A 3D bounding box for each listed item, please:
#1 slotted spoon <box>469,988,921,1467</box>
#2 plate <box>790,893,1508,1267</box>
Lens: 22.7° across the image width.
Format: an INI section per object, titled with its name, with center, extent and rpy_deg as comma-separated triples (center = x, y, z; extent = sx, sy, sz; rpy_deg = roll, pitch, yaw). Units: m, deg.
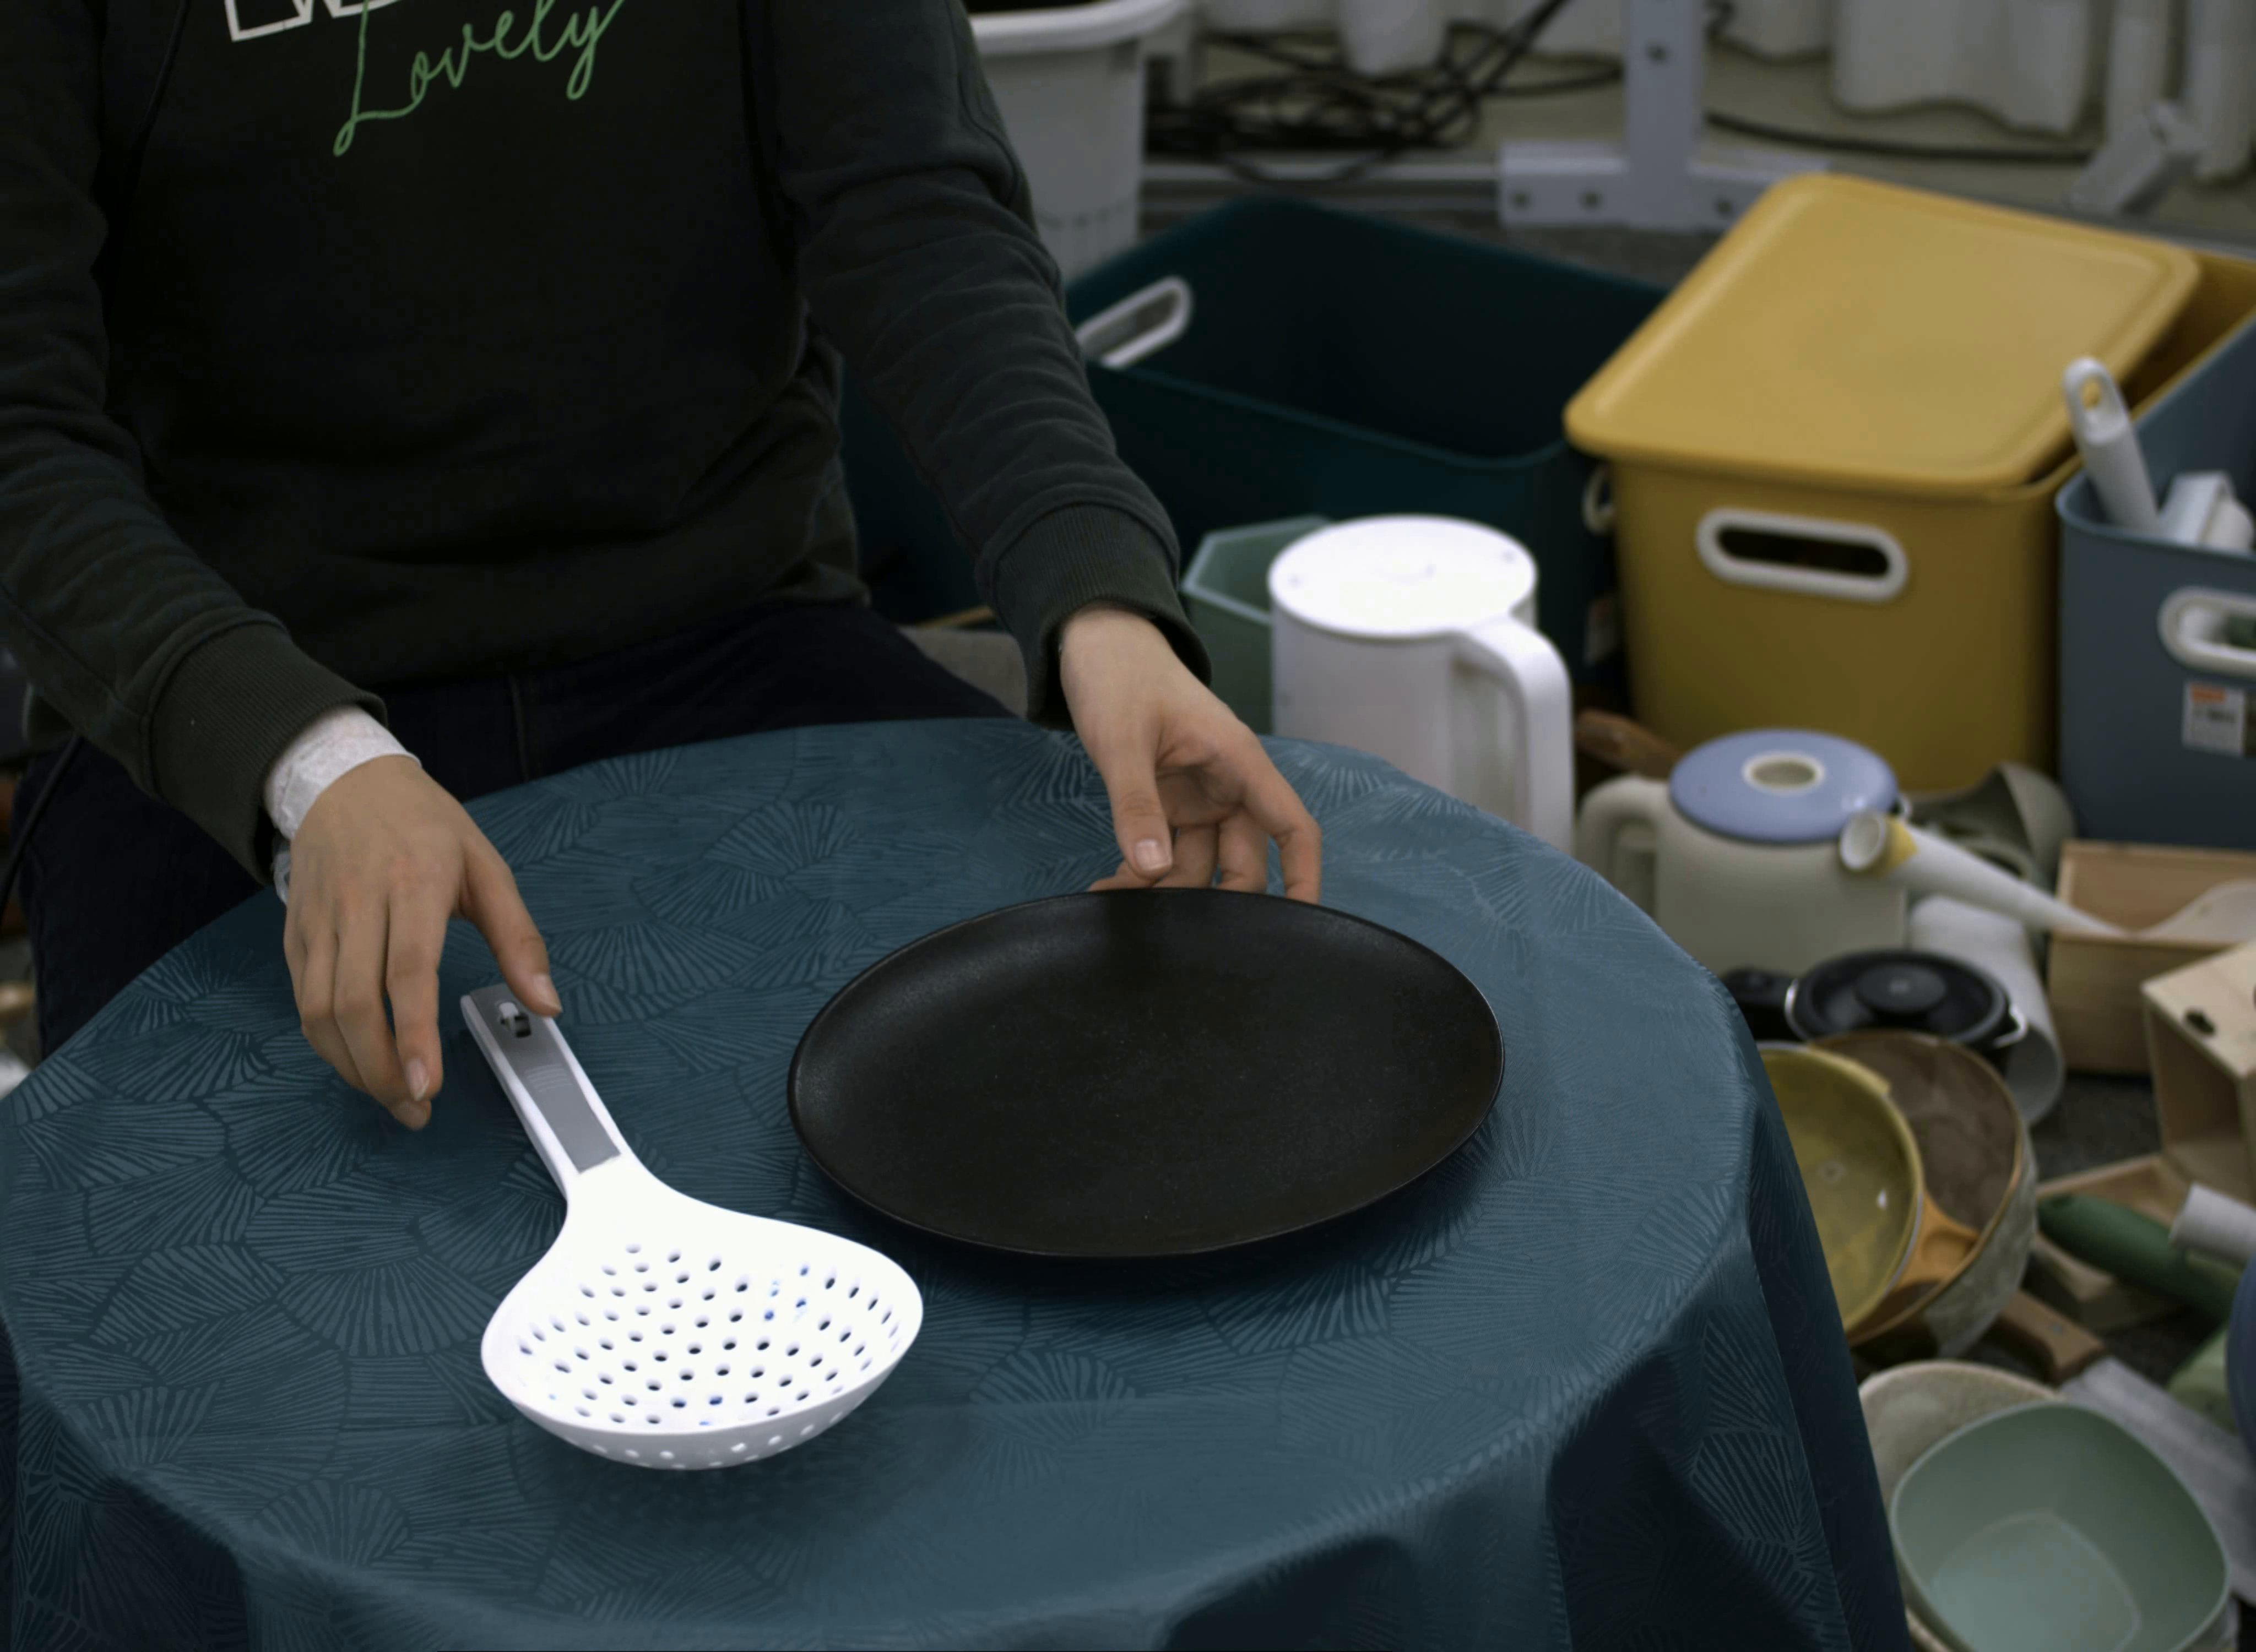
[slotted spoon]
center = -0.166, 0.124, 1.824
extent = 0.136, 0.045, 0.352
rpy_deg = -9, 27, -16
[plate]
center = 0.007, 0.089, 1.899
extent = 0.243, 0.023, 0.248
rpy_deg = -2, 27, 2
